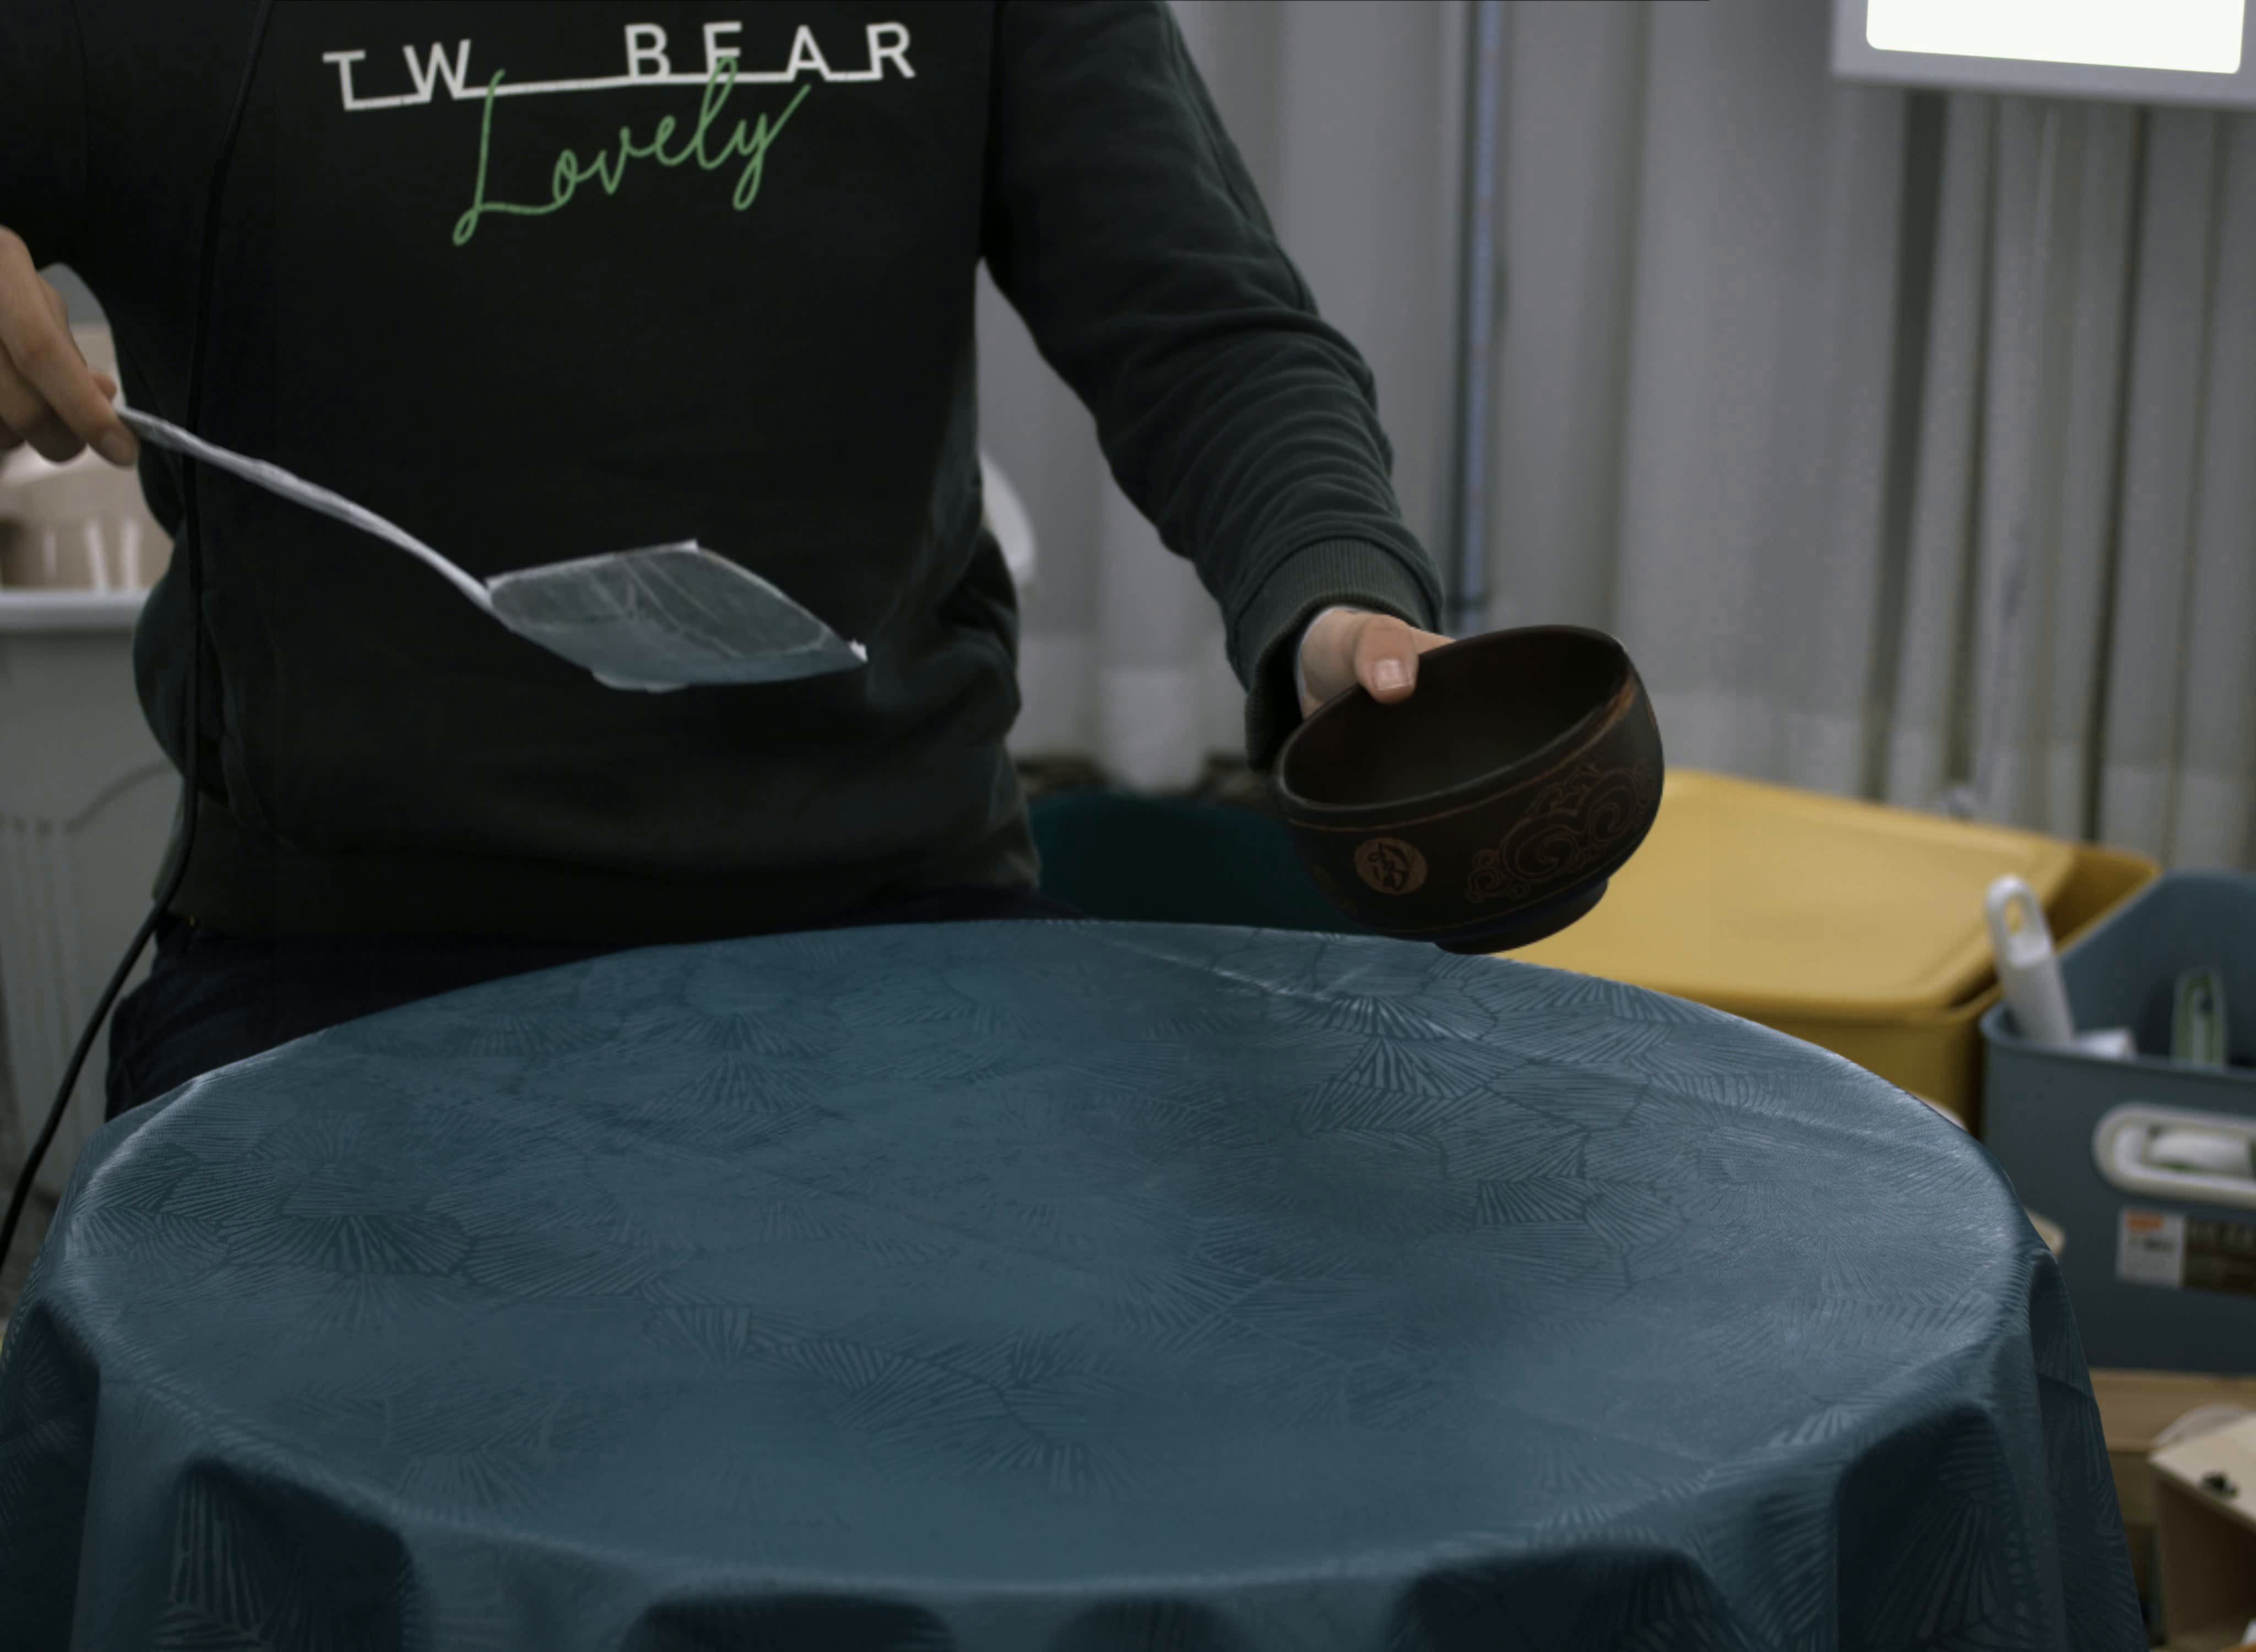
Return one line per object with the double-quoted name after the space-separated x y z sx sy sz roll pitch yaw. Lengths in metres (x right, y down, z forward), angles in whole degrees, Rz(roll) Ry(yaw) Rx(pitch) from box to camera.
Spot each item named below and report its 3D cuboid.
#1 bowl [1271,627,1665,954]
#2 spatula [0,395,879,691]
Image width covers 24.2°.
0.108 -0.005 1.604 0.117 0.070 0.117 -17 21 7 "bowl"
-0.233 -0.097 1.565 0.360 0.045 0.100 22 -5 32 "spatula"
